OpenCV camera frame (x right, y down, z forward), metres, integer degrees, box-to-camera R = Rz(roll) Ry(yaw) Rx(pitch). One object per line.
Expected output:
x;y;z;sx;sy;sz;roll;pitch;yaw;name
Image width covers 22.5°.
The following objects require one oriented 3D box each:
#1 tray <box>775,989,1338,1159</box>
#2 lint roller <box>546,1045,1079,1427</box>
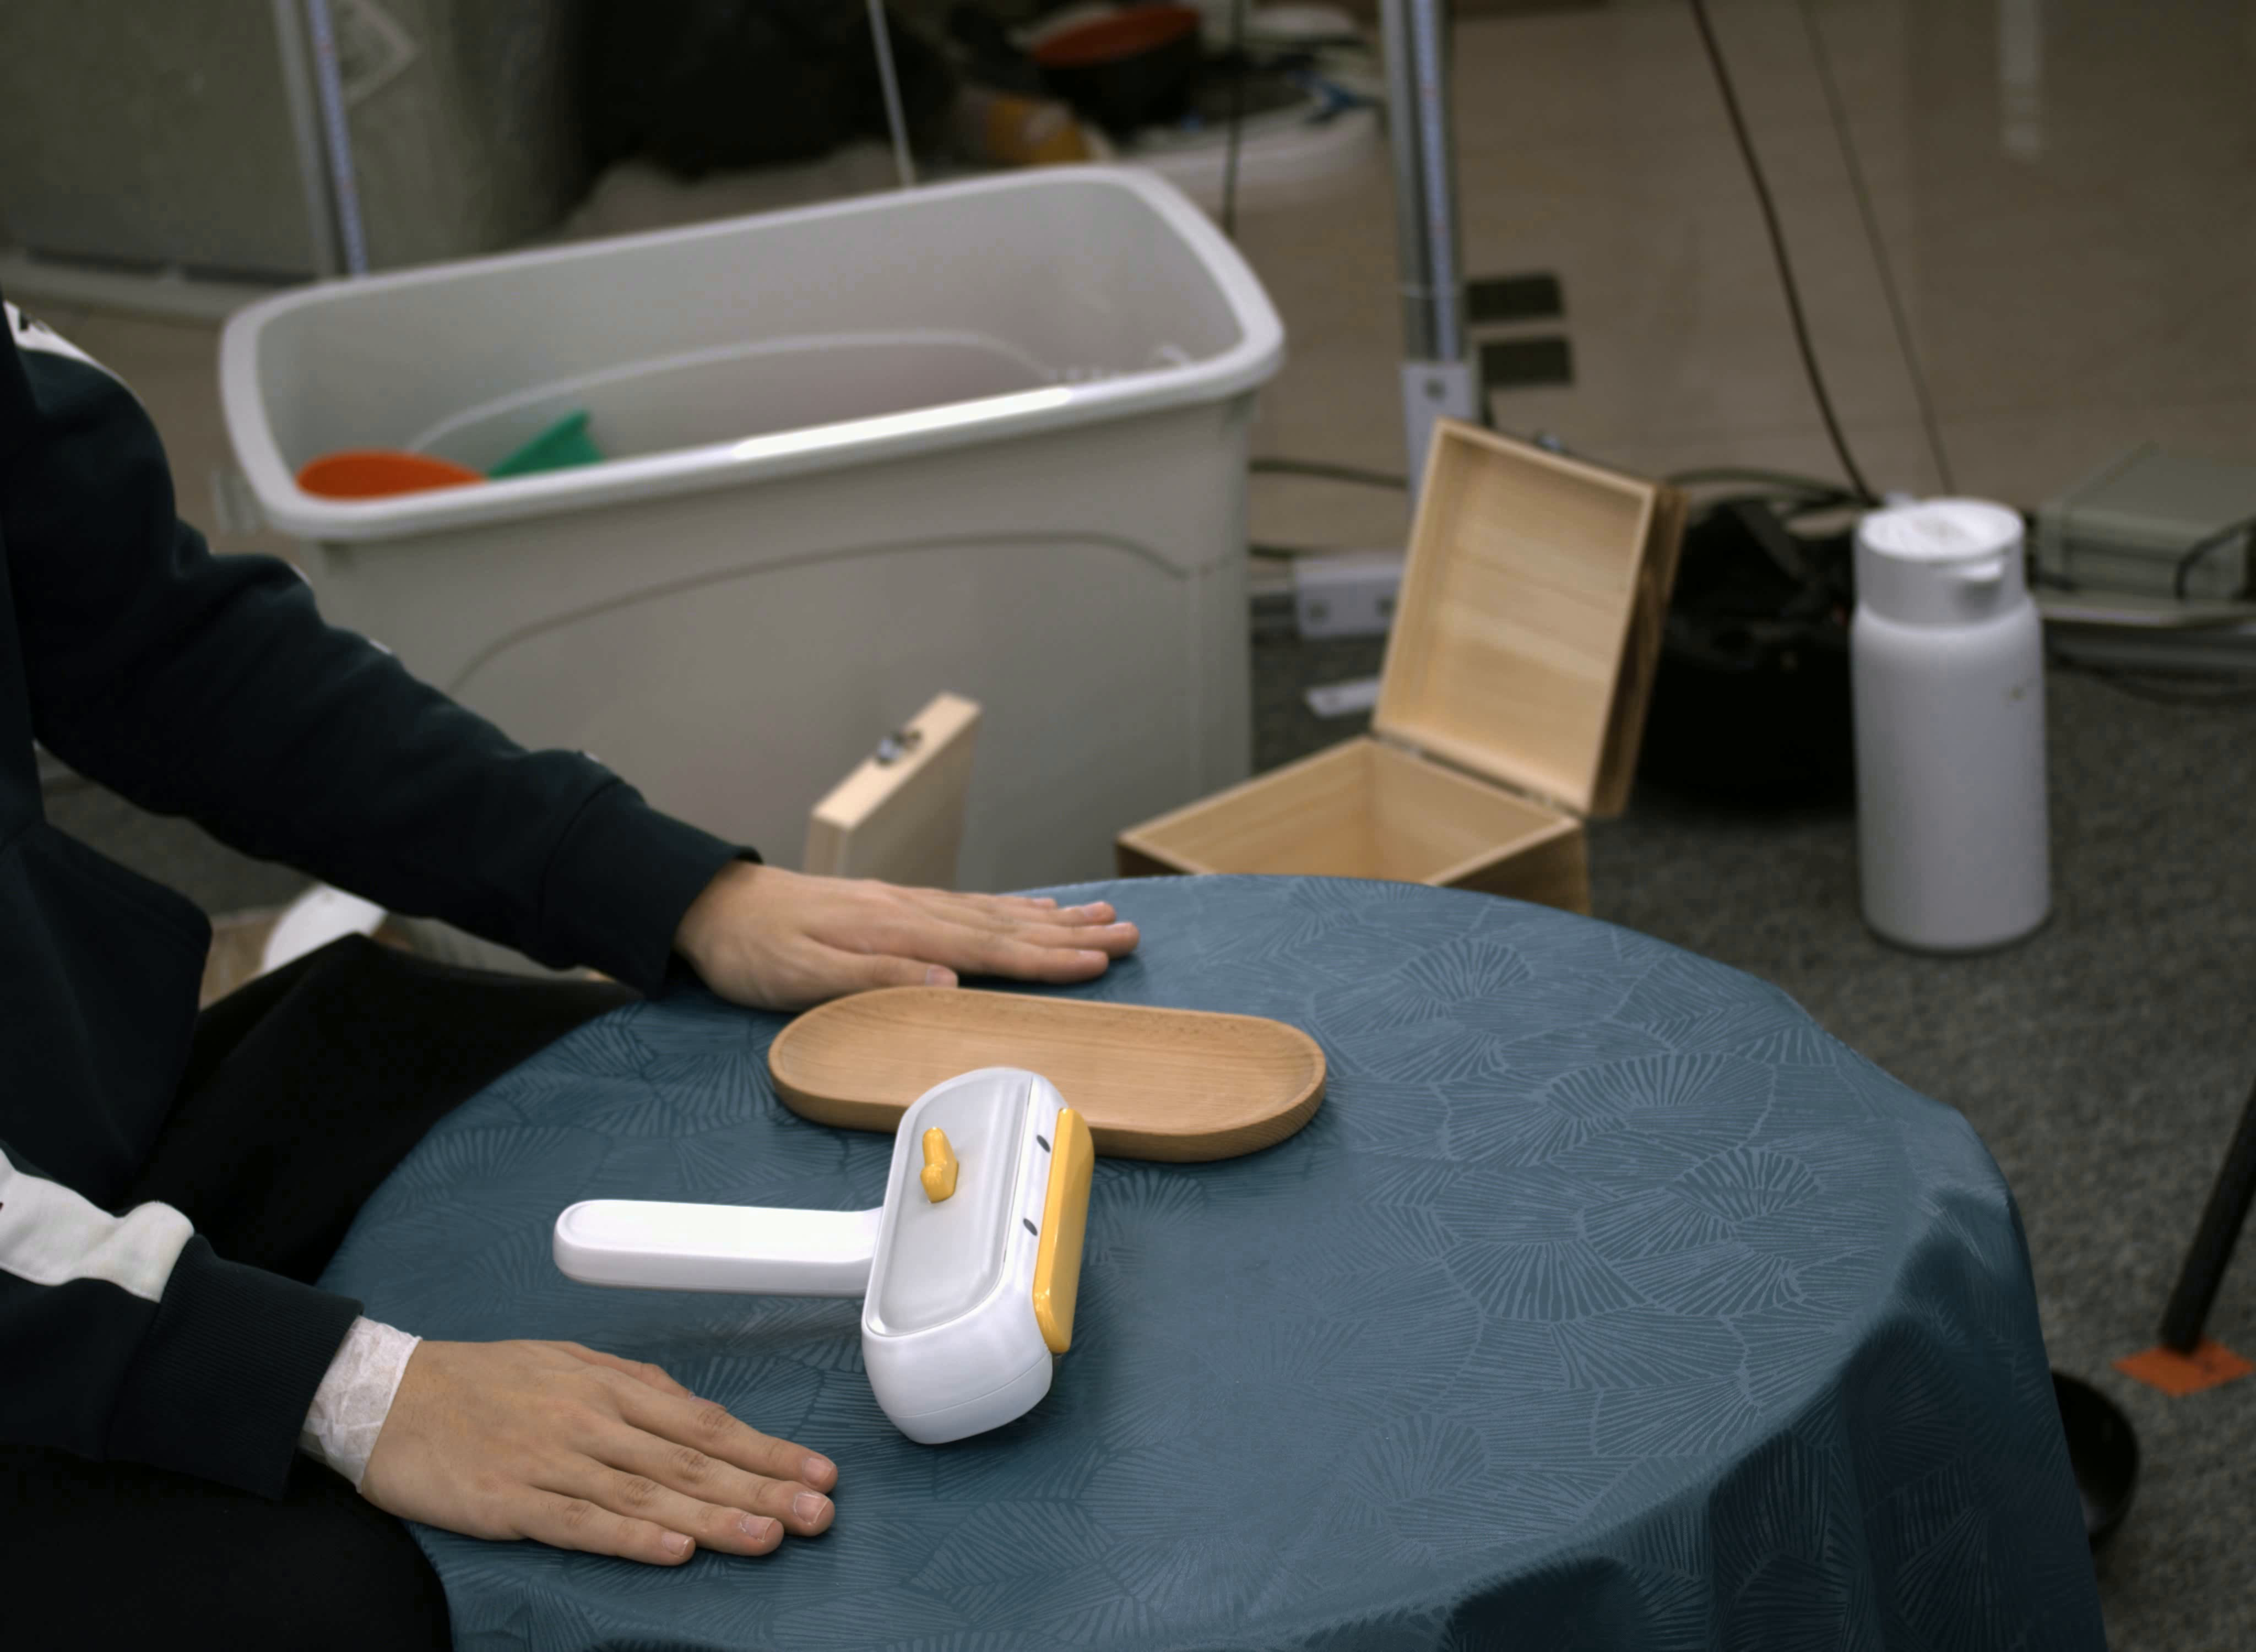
-0.029;0.097;2.221;0.230;0.020;0.100;5;28;21;tray
-0.113;0.153;2.062;0.192;0.075;0.189;-11;32;7;lint roller
